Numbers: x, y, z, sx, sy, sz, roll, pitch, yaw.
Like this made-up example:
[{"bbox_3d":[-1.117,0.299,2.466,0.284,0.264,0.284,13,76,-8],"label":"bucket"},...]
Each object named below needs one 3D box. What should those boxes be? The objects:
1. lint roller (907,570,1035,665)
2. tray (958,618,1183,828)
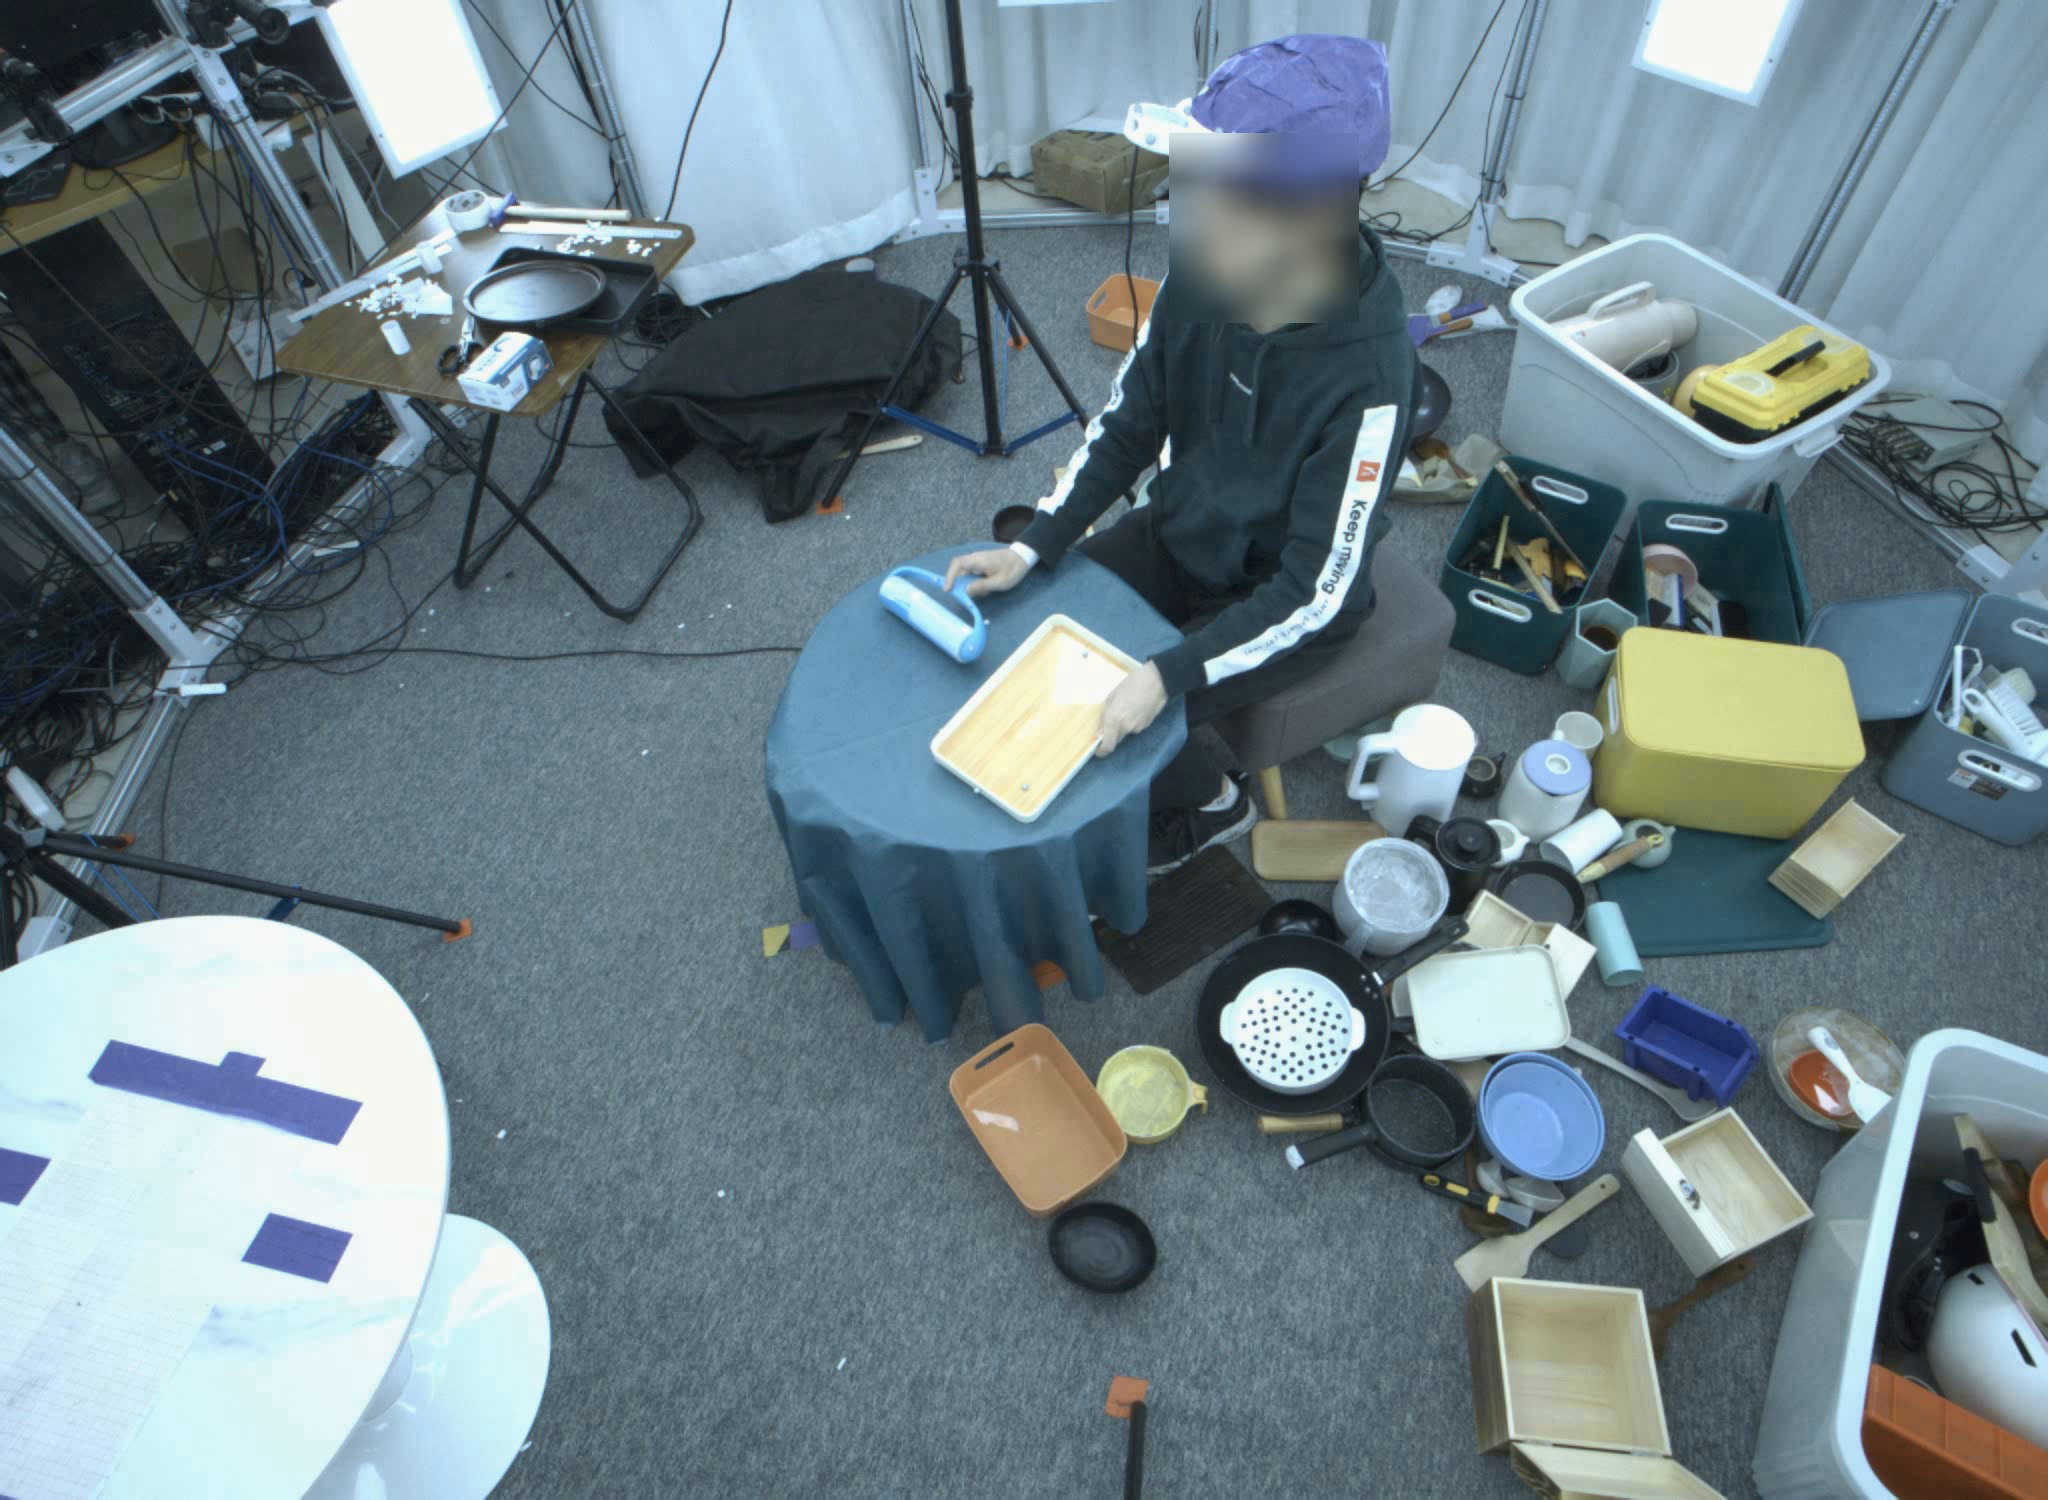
[{"bbox_3d":[-0.059,-0.234,1.908,0.224,0.069,0.181,34,62,32],"label":"lint roller"},{"bbox_3d":[0.069,-0.044,1.769,0.189,0.027,0.301,37,69,18],"label":"tray"}]
